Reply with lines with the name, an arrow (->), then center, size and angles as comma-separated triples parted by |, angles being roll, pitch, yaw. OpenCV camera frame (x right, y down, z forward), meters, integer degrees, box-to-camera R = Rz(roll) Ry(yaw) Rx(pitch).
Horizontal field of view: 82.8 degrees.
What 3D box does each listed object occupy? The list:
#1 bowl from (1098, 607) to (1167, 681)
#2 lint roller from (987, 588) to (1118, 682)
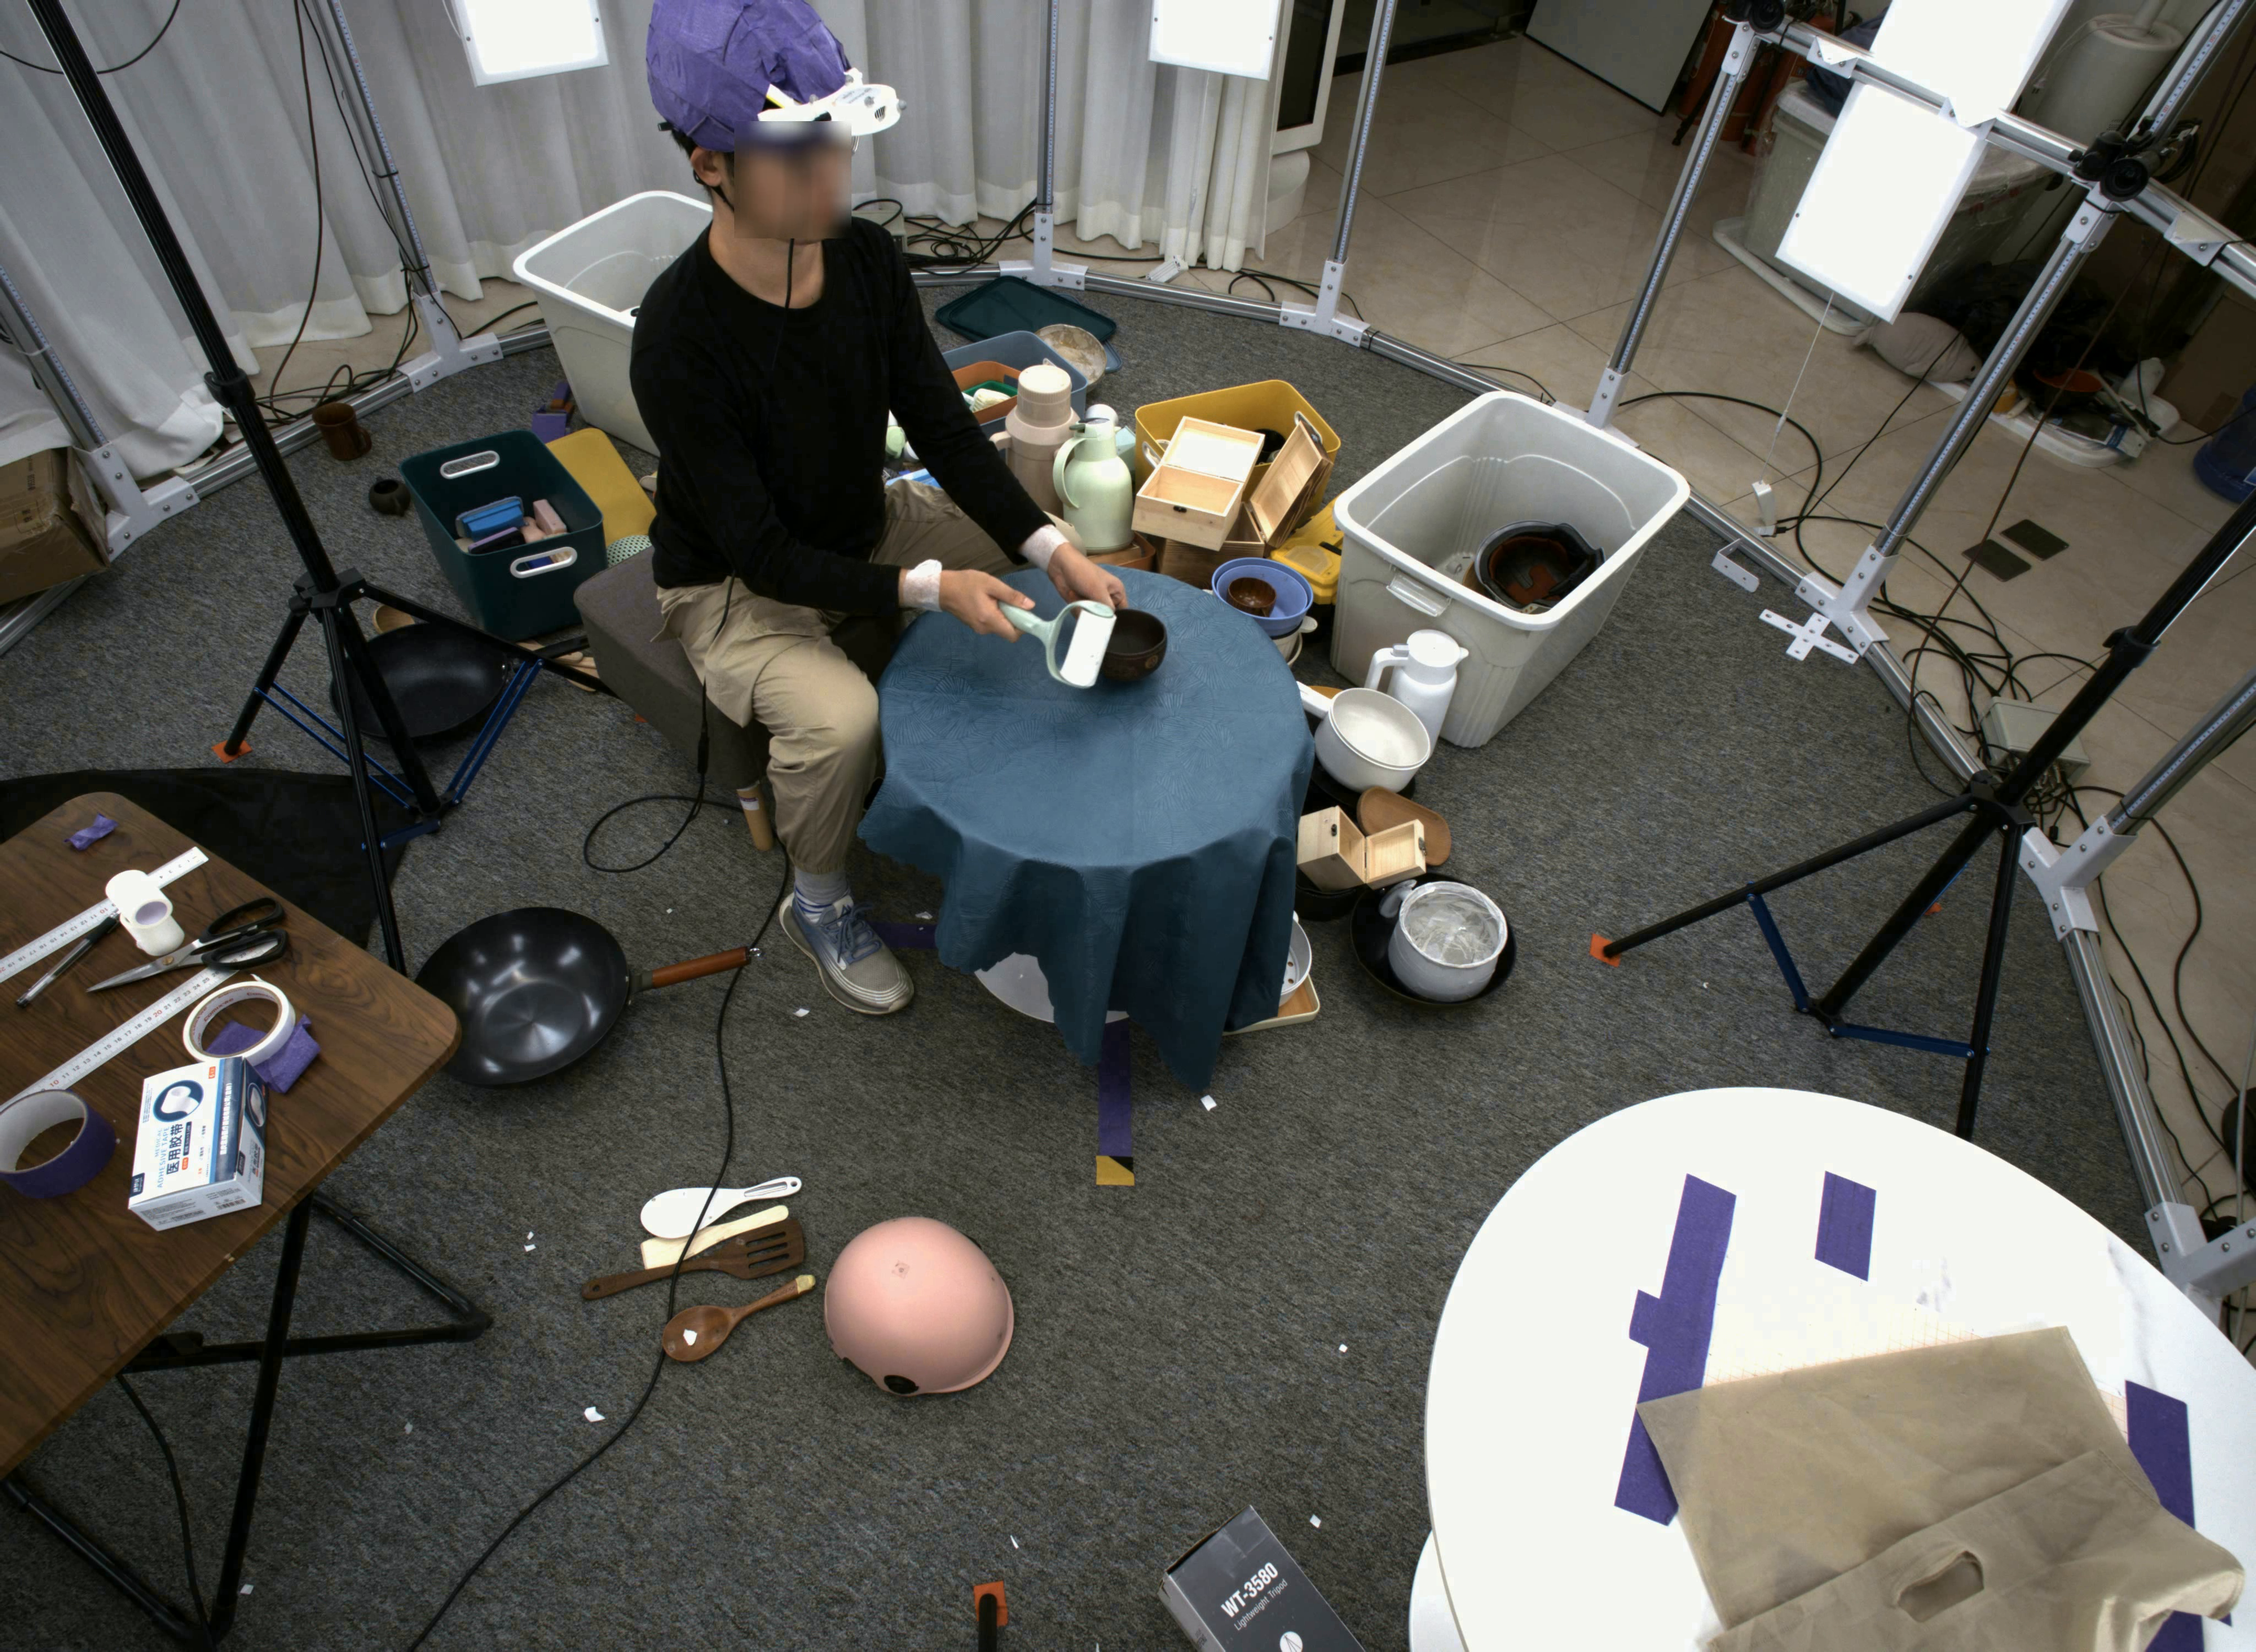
bowl -> -0.003, -0.252, 1.838 | 0.118, 0.068, 0.121 | 1, 42, -1
lint roller -> -0.113, -0.283, 1.759 | 0.199, 0.114, 0.049 | 26, 27, 14
